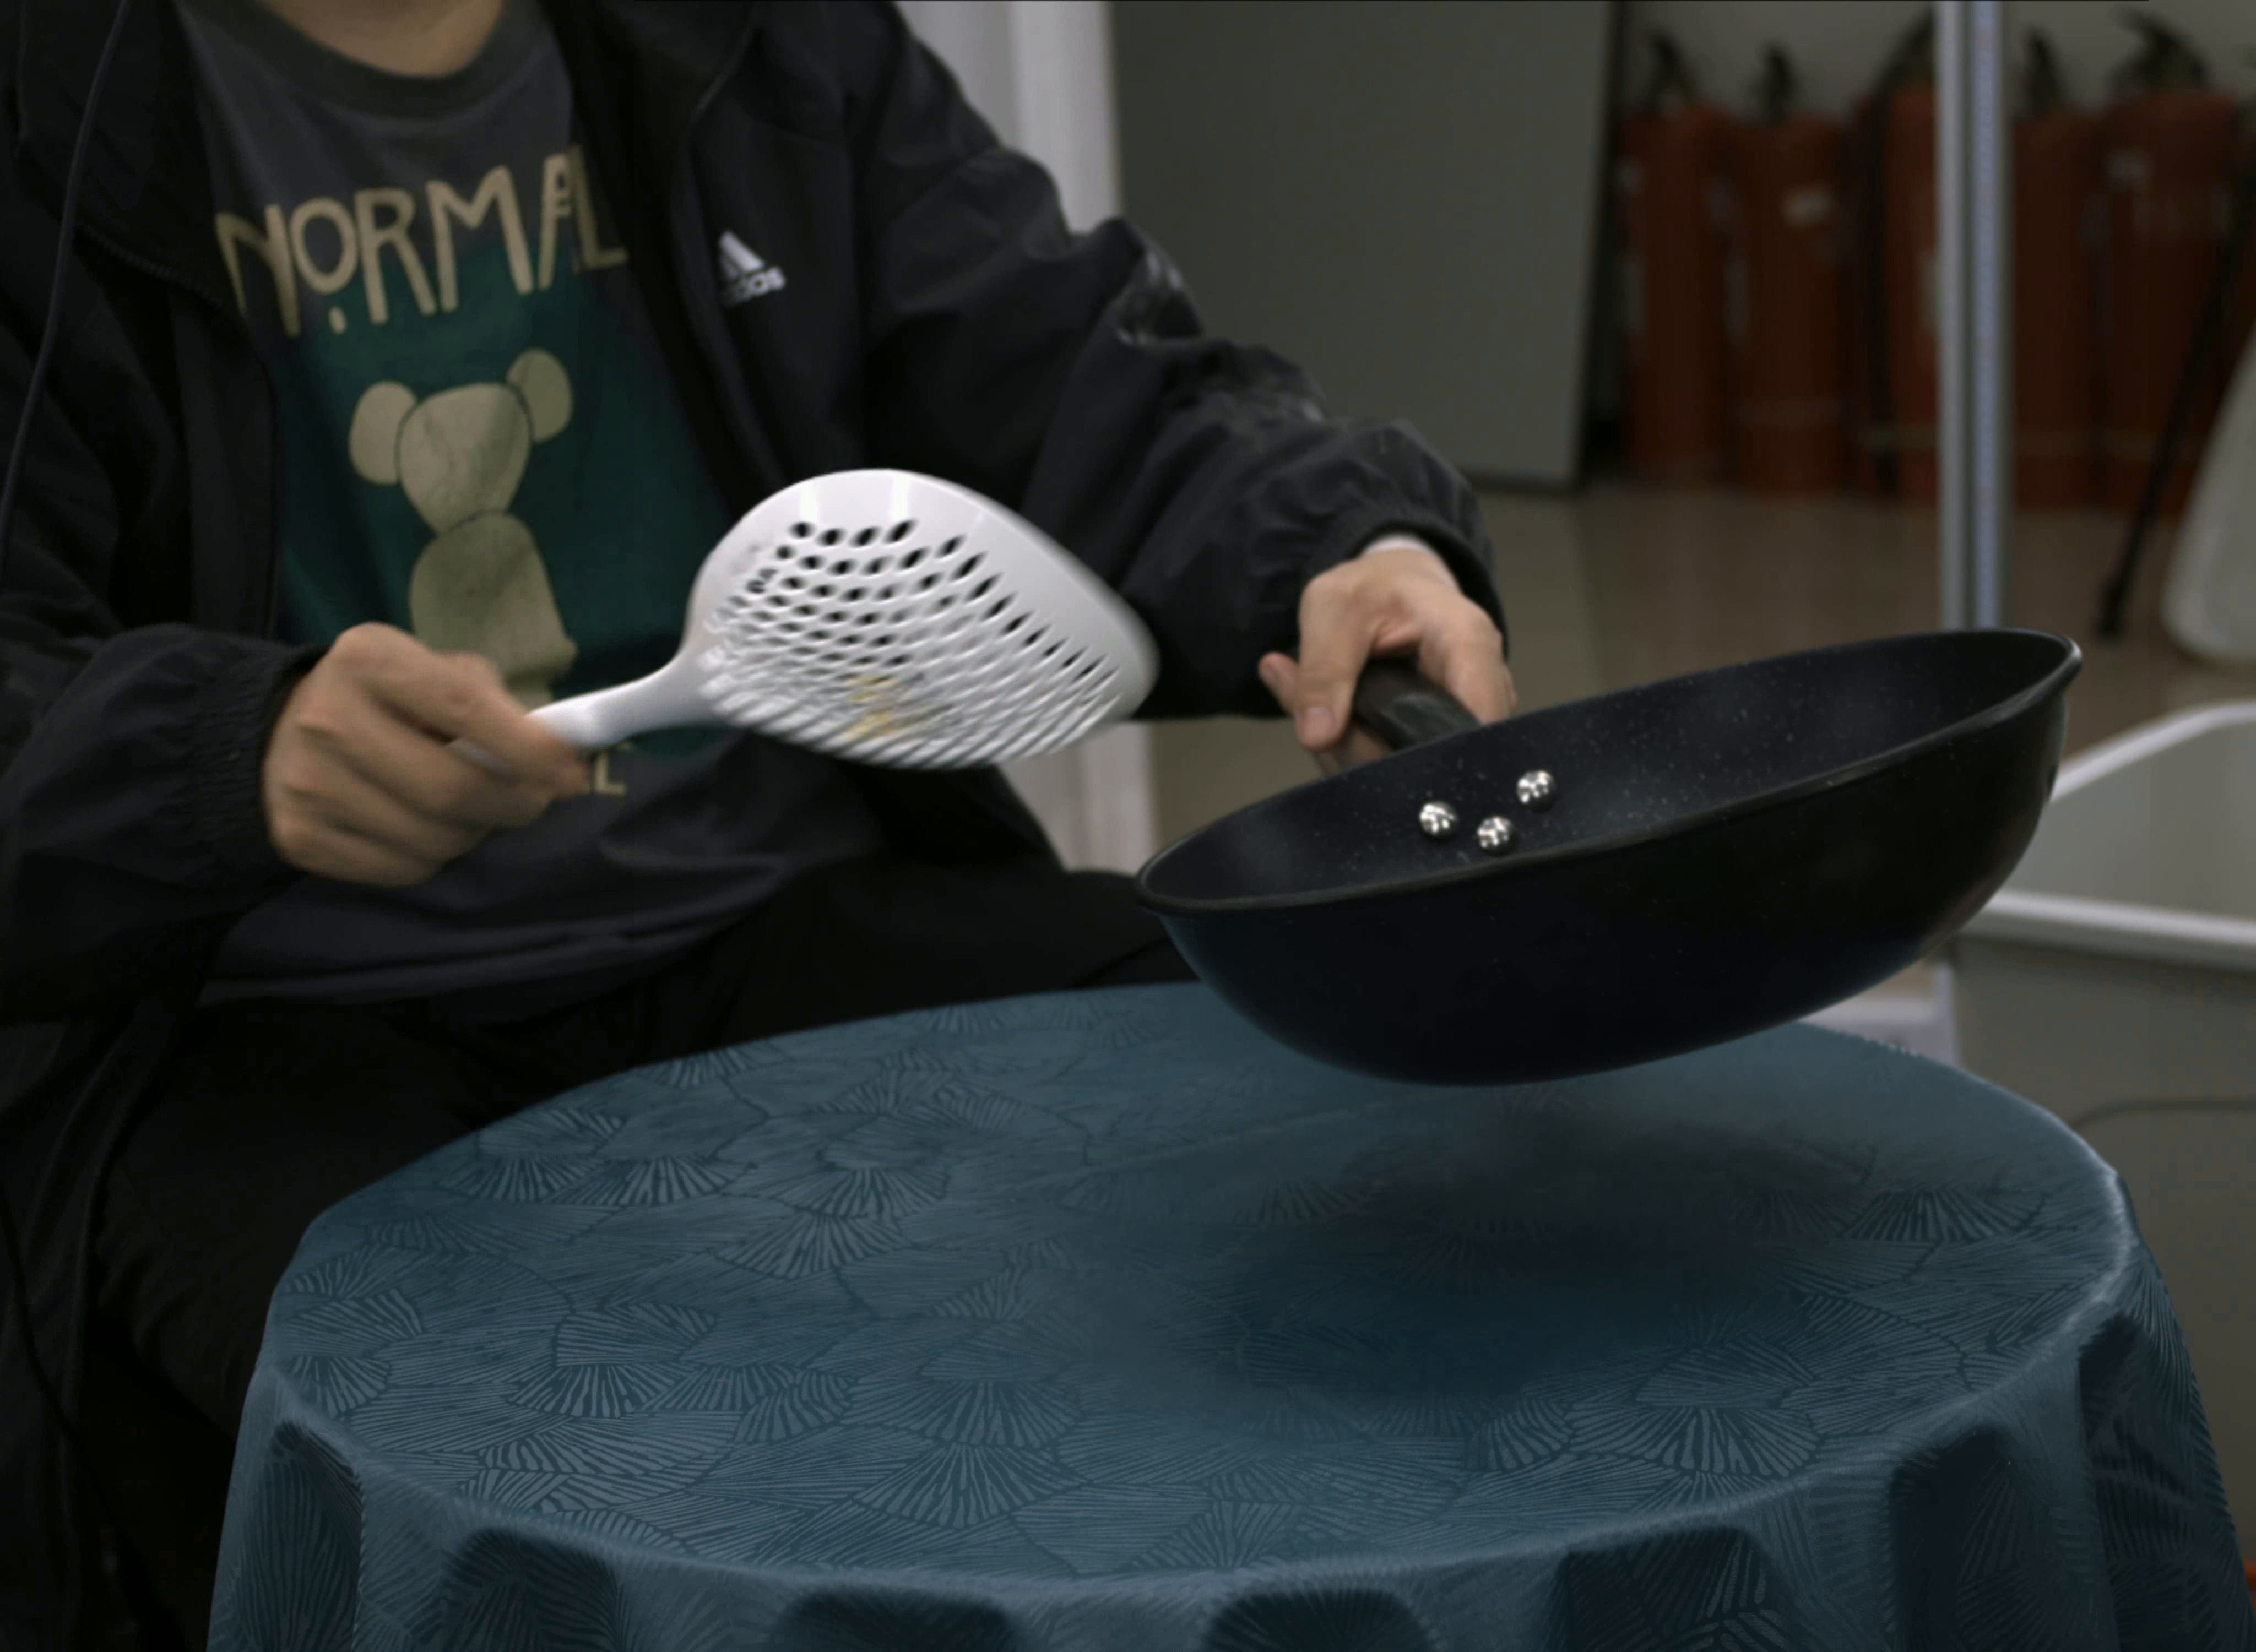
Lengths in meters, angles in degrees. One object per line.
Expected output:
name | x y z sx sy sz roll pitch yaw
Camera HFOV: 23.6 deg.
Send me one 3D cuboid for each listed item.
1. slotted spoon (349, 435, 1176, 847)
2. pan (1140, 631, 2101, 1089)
slotted spoon | -0.132 -0.041 1.743 0.135 0.050 0.351 36 -32 -32
pan | 0.139 0.002 1.770 0.305 0.113 0.480 -16 7 -12
